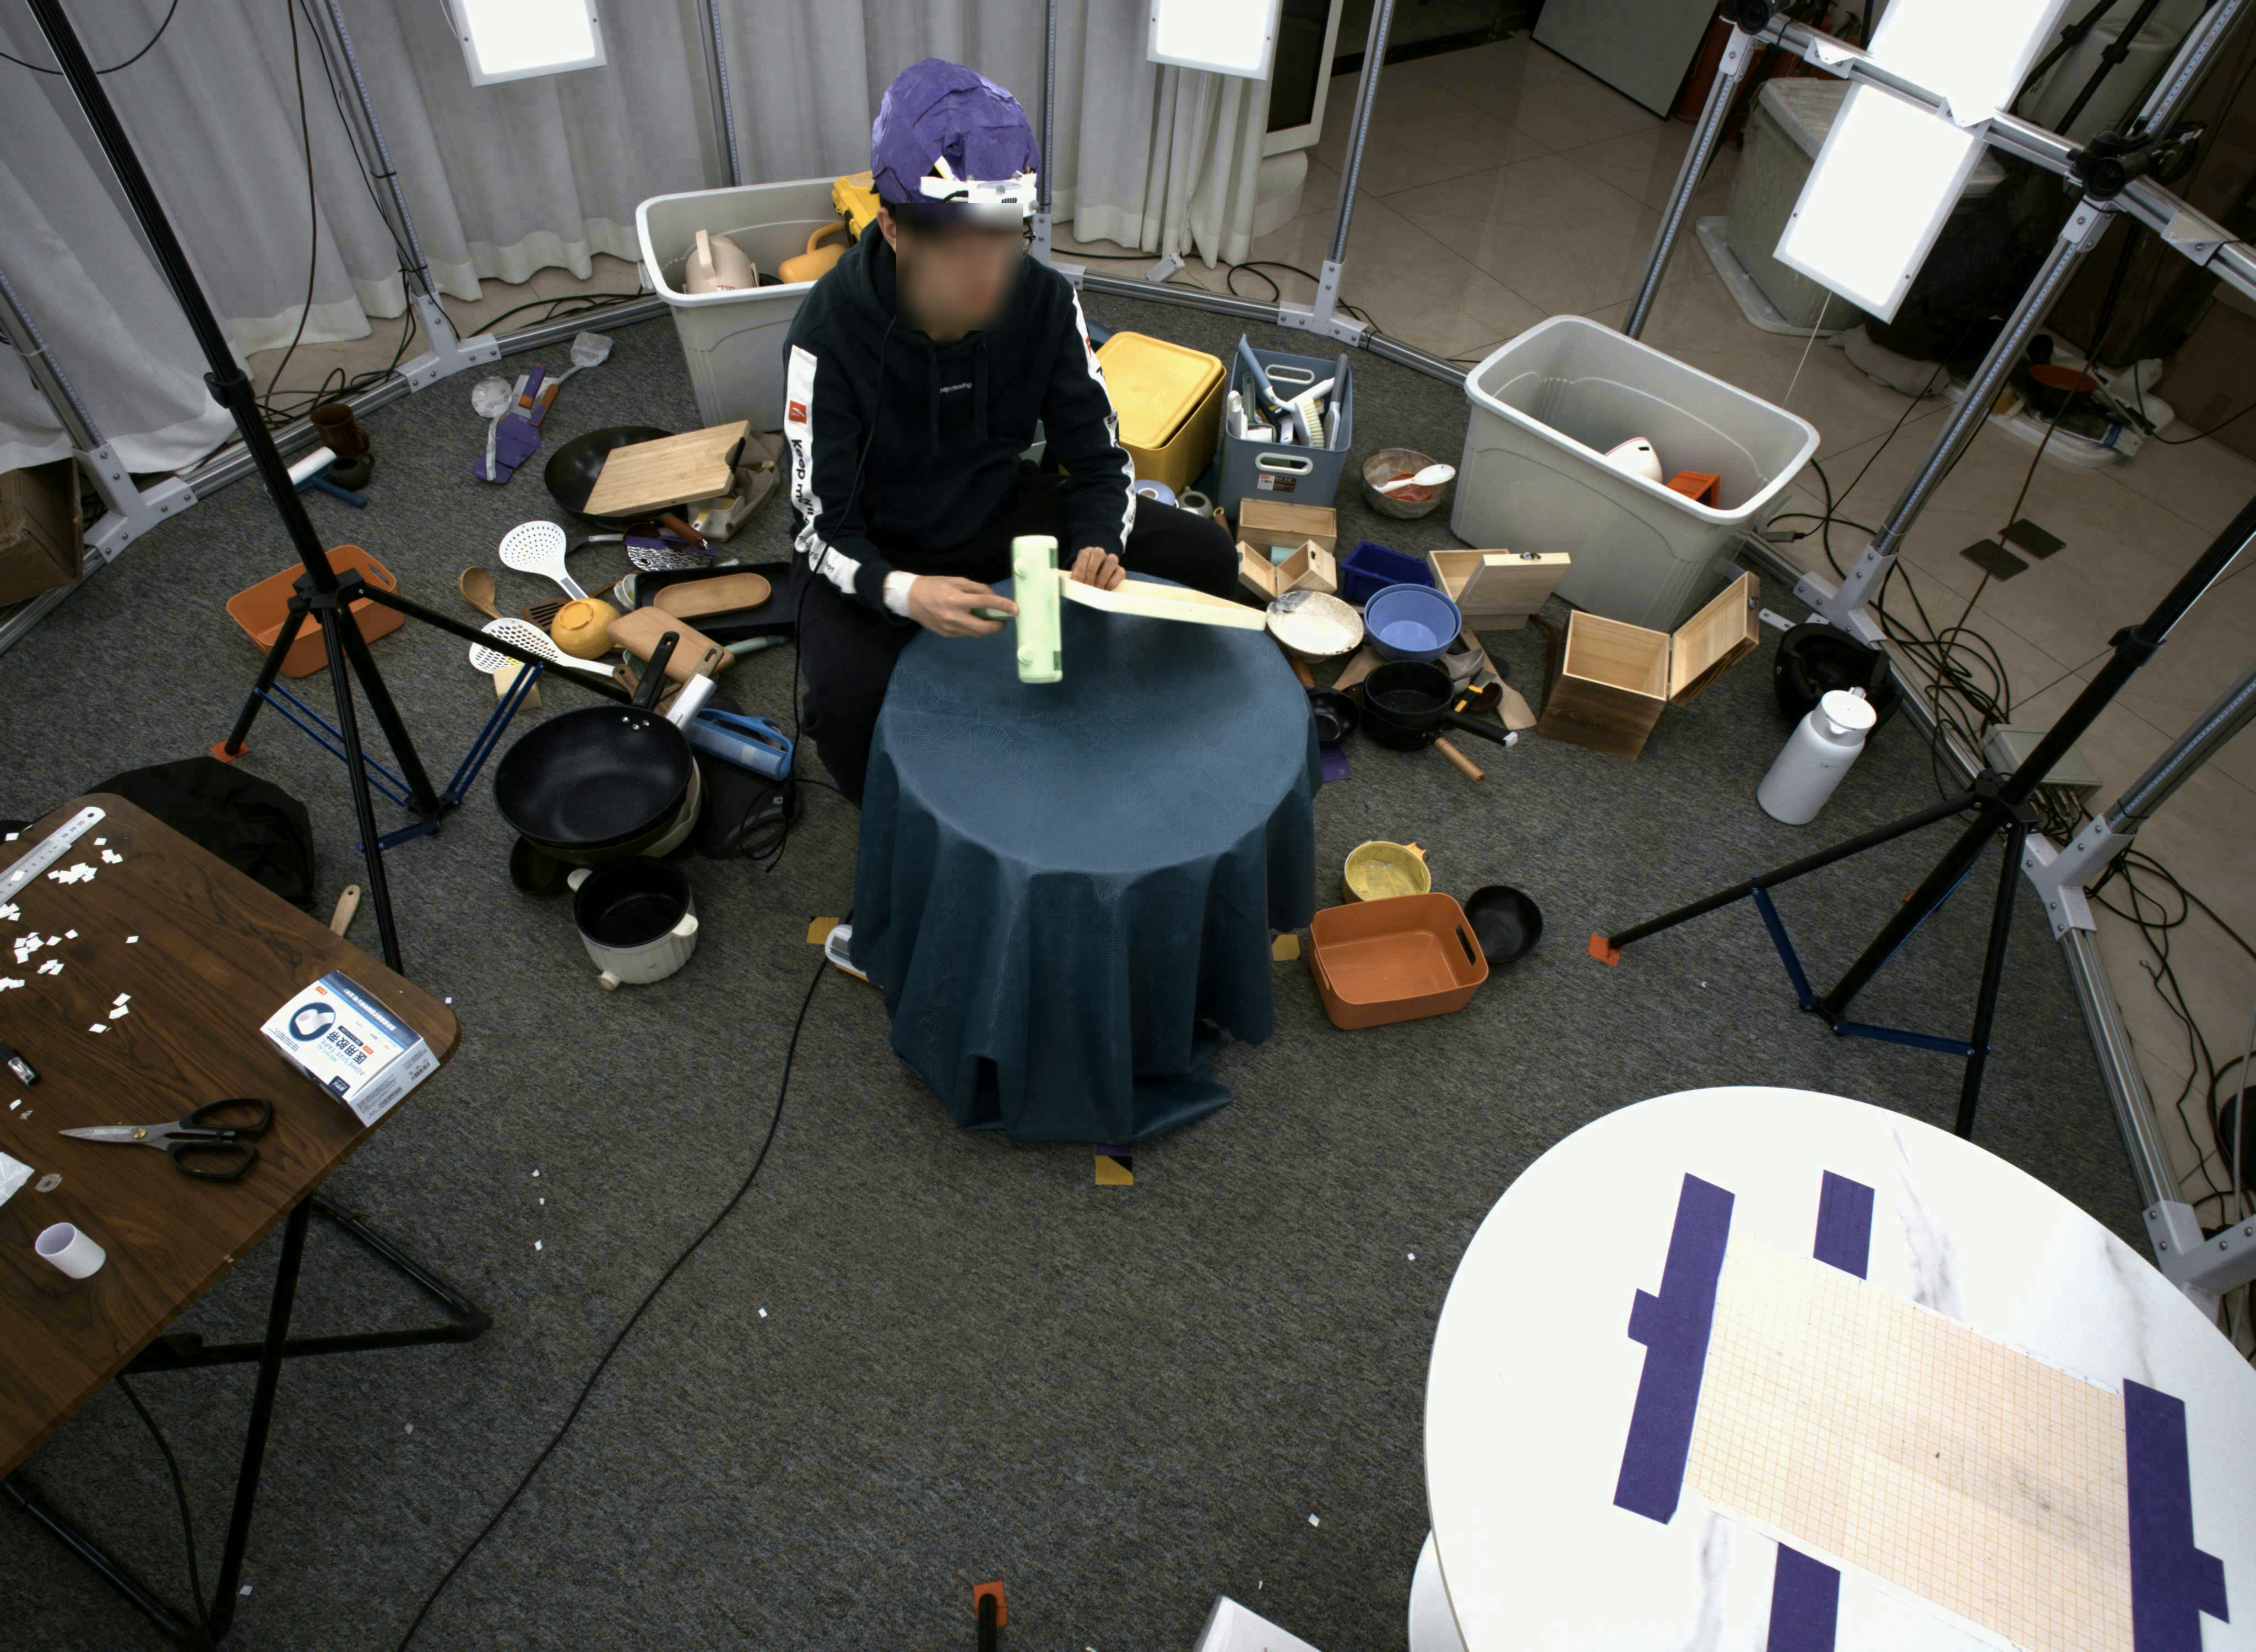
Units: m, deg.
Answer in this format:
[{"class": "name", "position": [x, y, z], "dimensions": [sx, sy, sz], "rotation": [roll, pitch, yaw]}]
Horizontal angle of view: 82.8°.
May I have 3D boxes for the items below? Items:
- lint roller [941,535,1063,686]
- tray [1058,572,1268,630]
[{"class": "lint roller", "position": [-0.177, -0.289, 1.736], "dimensions": [0.183, 0.197, 0.082], "rotation": [1, 11, 15]}, {"class": "tray", "position": [0.032, -0.318, 1.811], "dimensions": [0.299, 0.027, 0.194], "rotation": [0, 18, -37]}]
